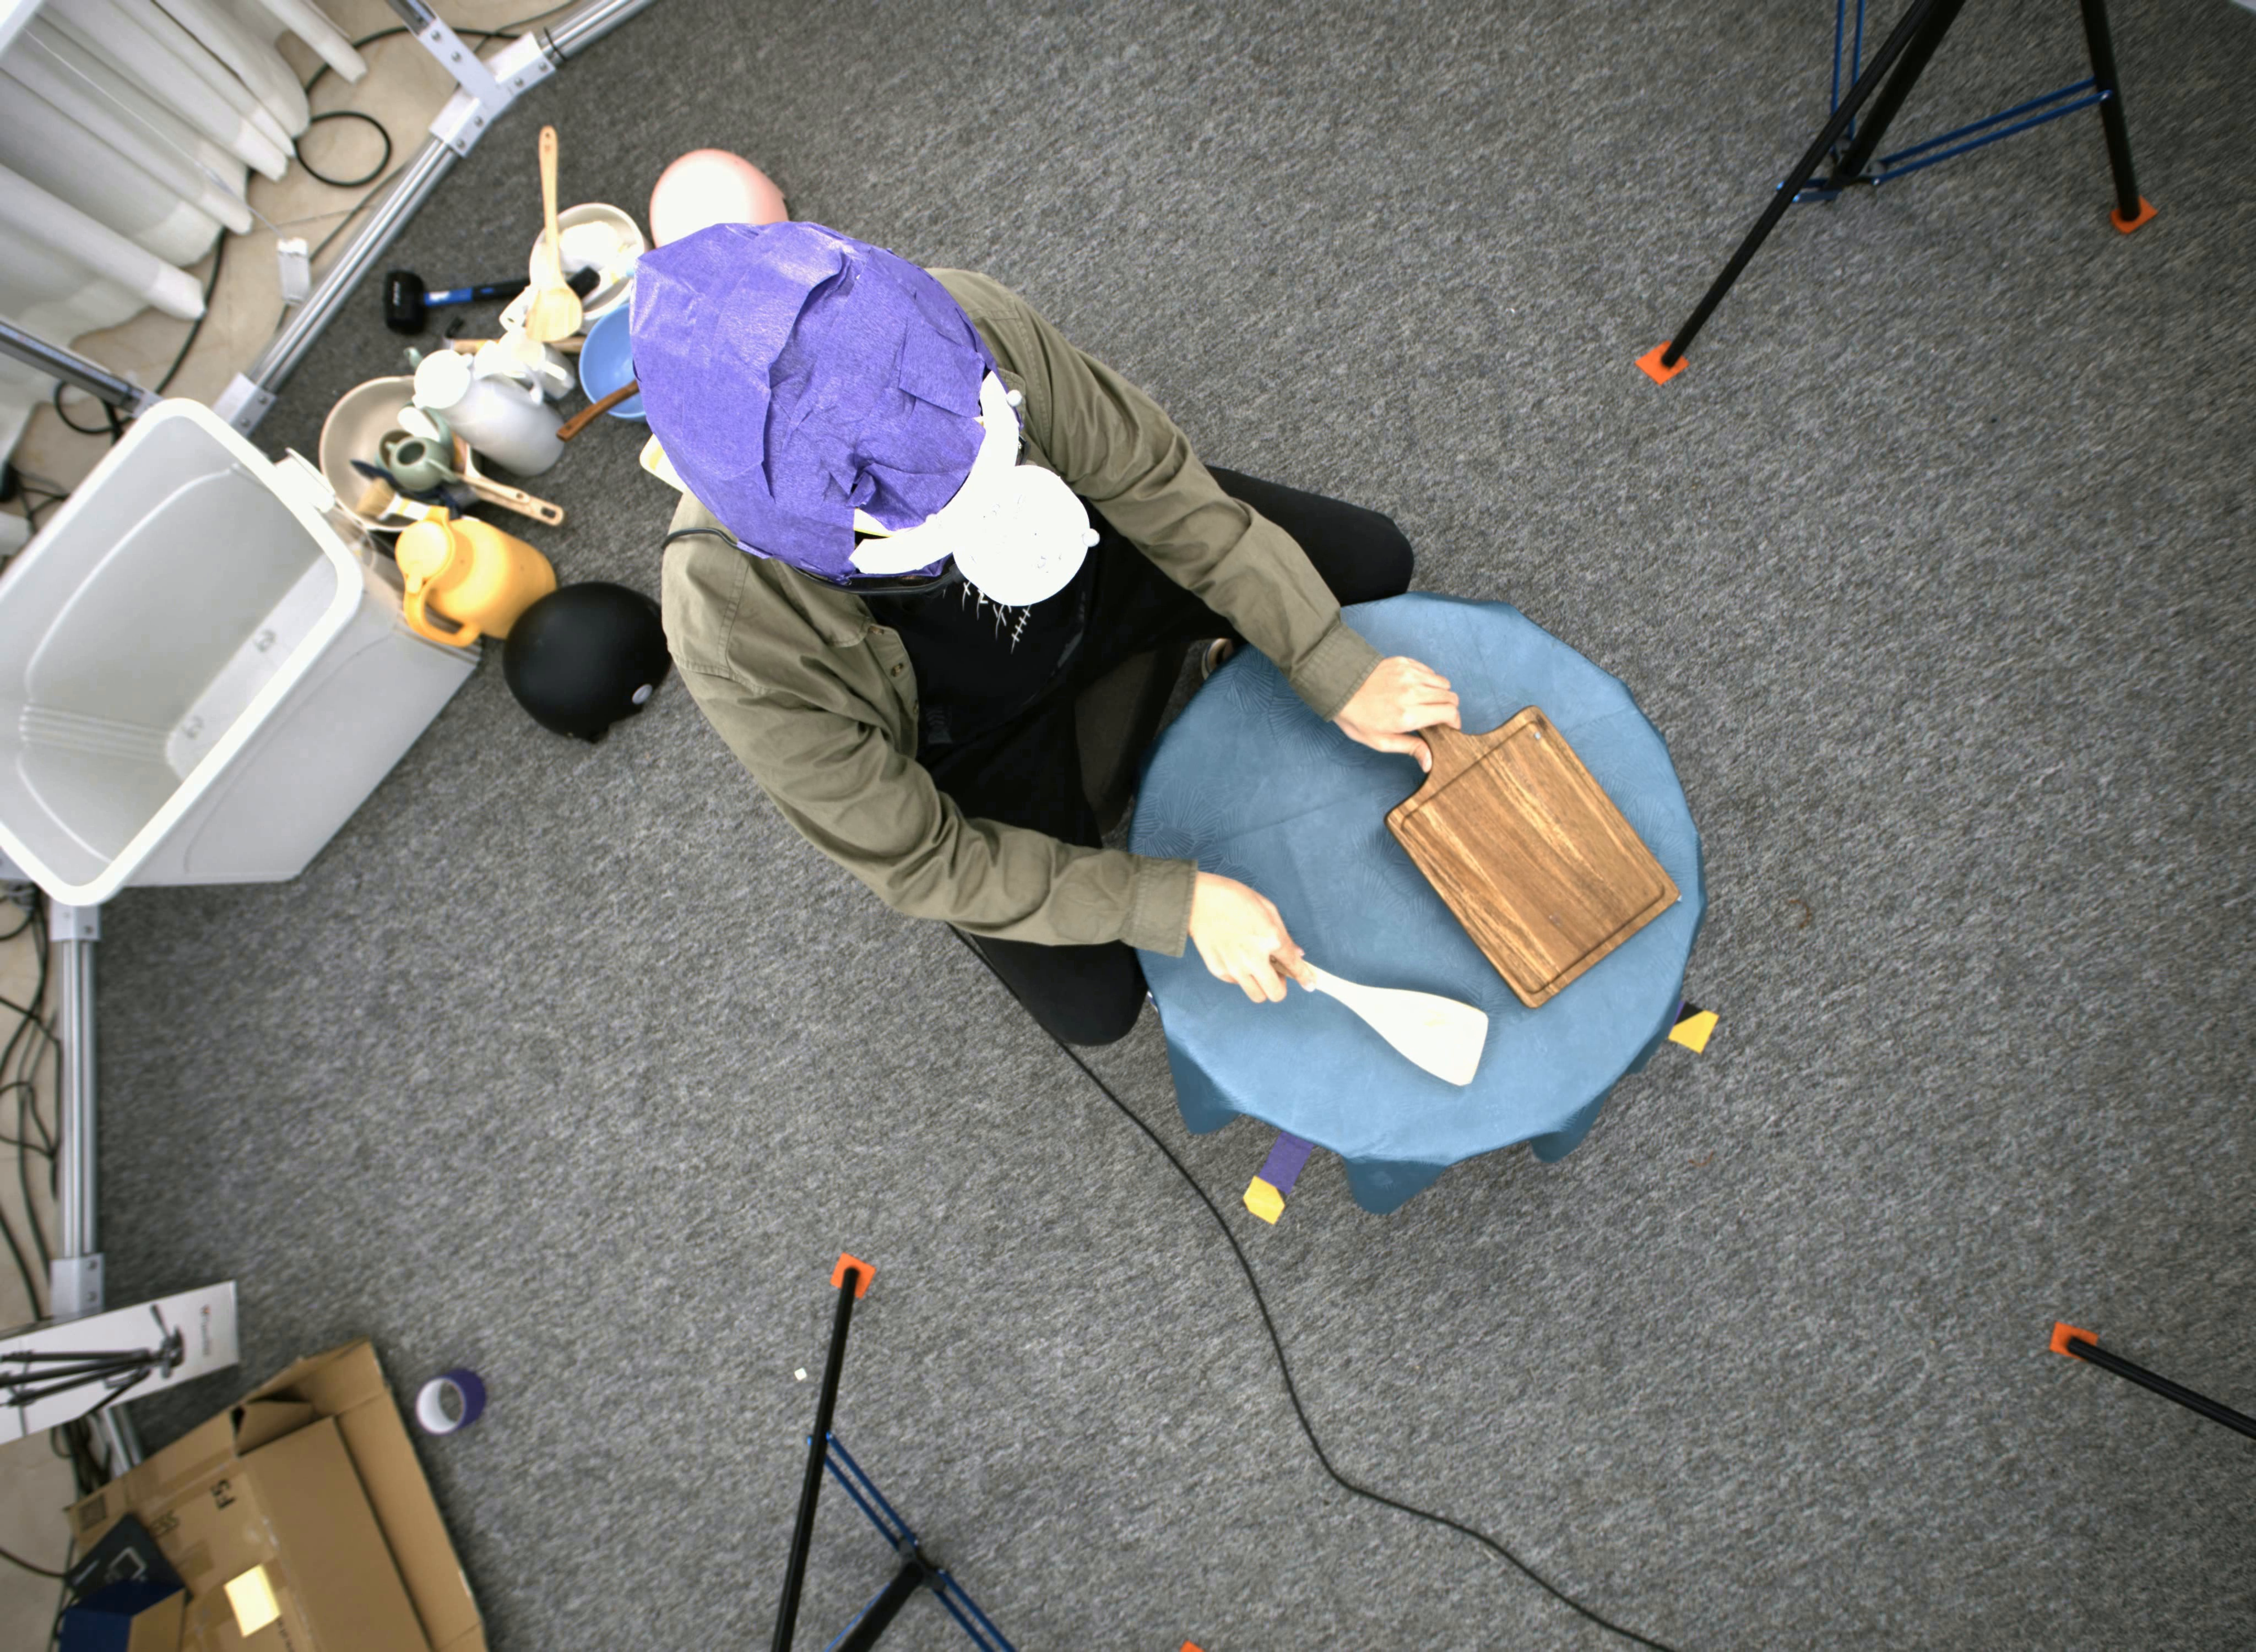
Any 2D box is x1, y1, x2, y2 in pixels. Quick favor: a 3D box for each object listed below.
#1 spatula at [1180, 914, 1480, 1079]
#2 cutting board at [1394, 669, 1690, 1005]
[{"bbox_3d":[0.203,0.158,1.387,0.328,0.016,0.080,23,97,-5],"label":"spatula"},{"bbox_3d":[0.390,-0.015,1.386,0.201,0.023,0.352,-36,92,3],"label":"cutting board"}]
